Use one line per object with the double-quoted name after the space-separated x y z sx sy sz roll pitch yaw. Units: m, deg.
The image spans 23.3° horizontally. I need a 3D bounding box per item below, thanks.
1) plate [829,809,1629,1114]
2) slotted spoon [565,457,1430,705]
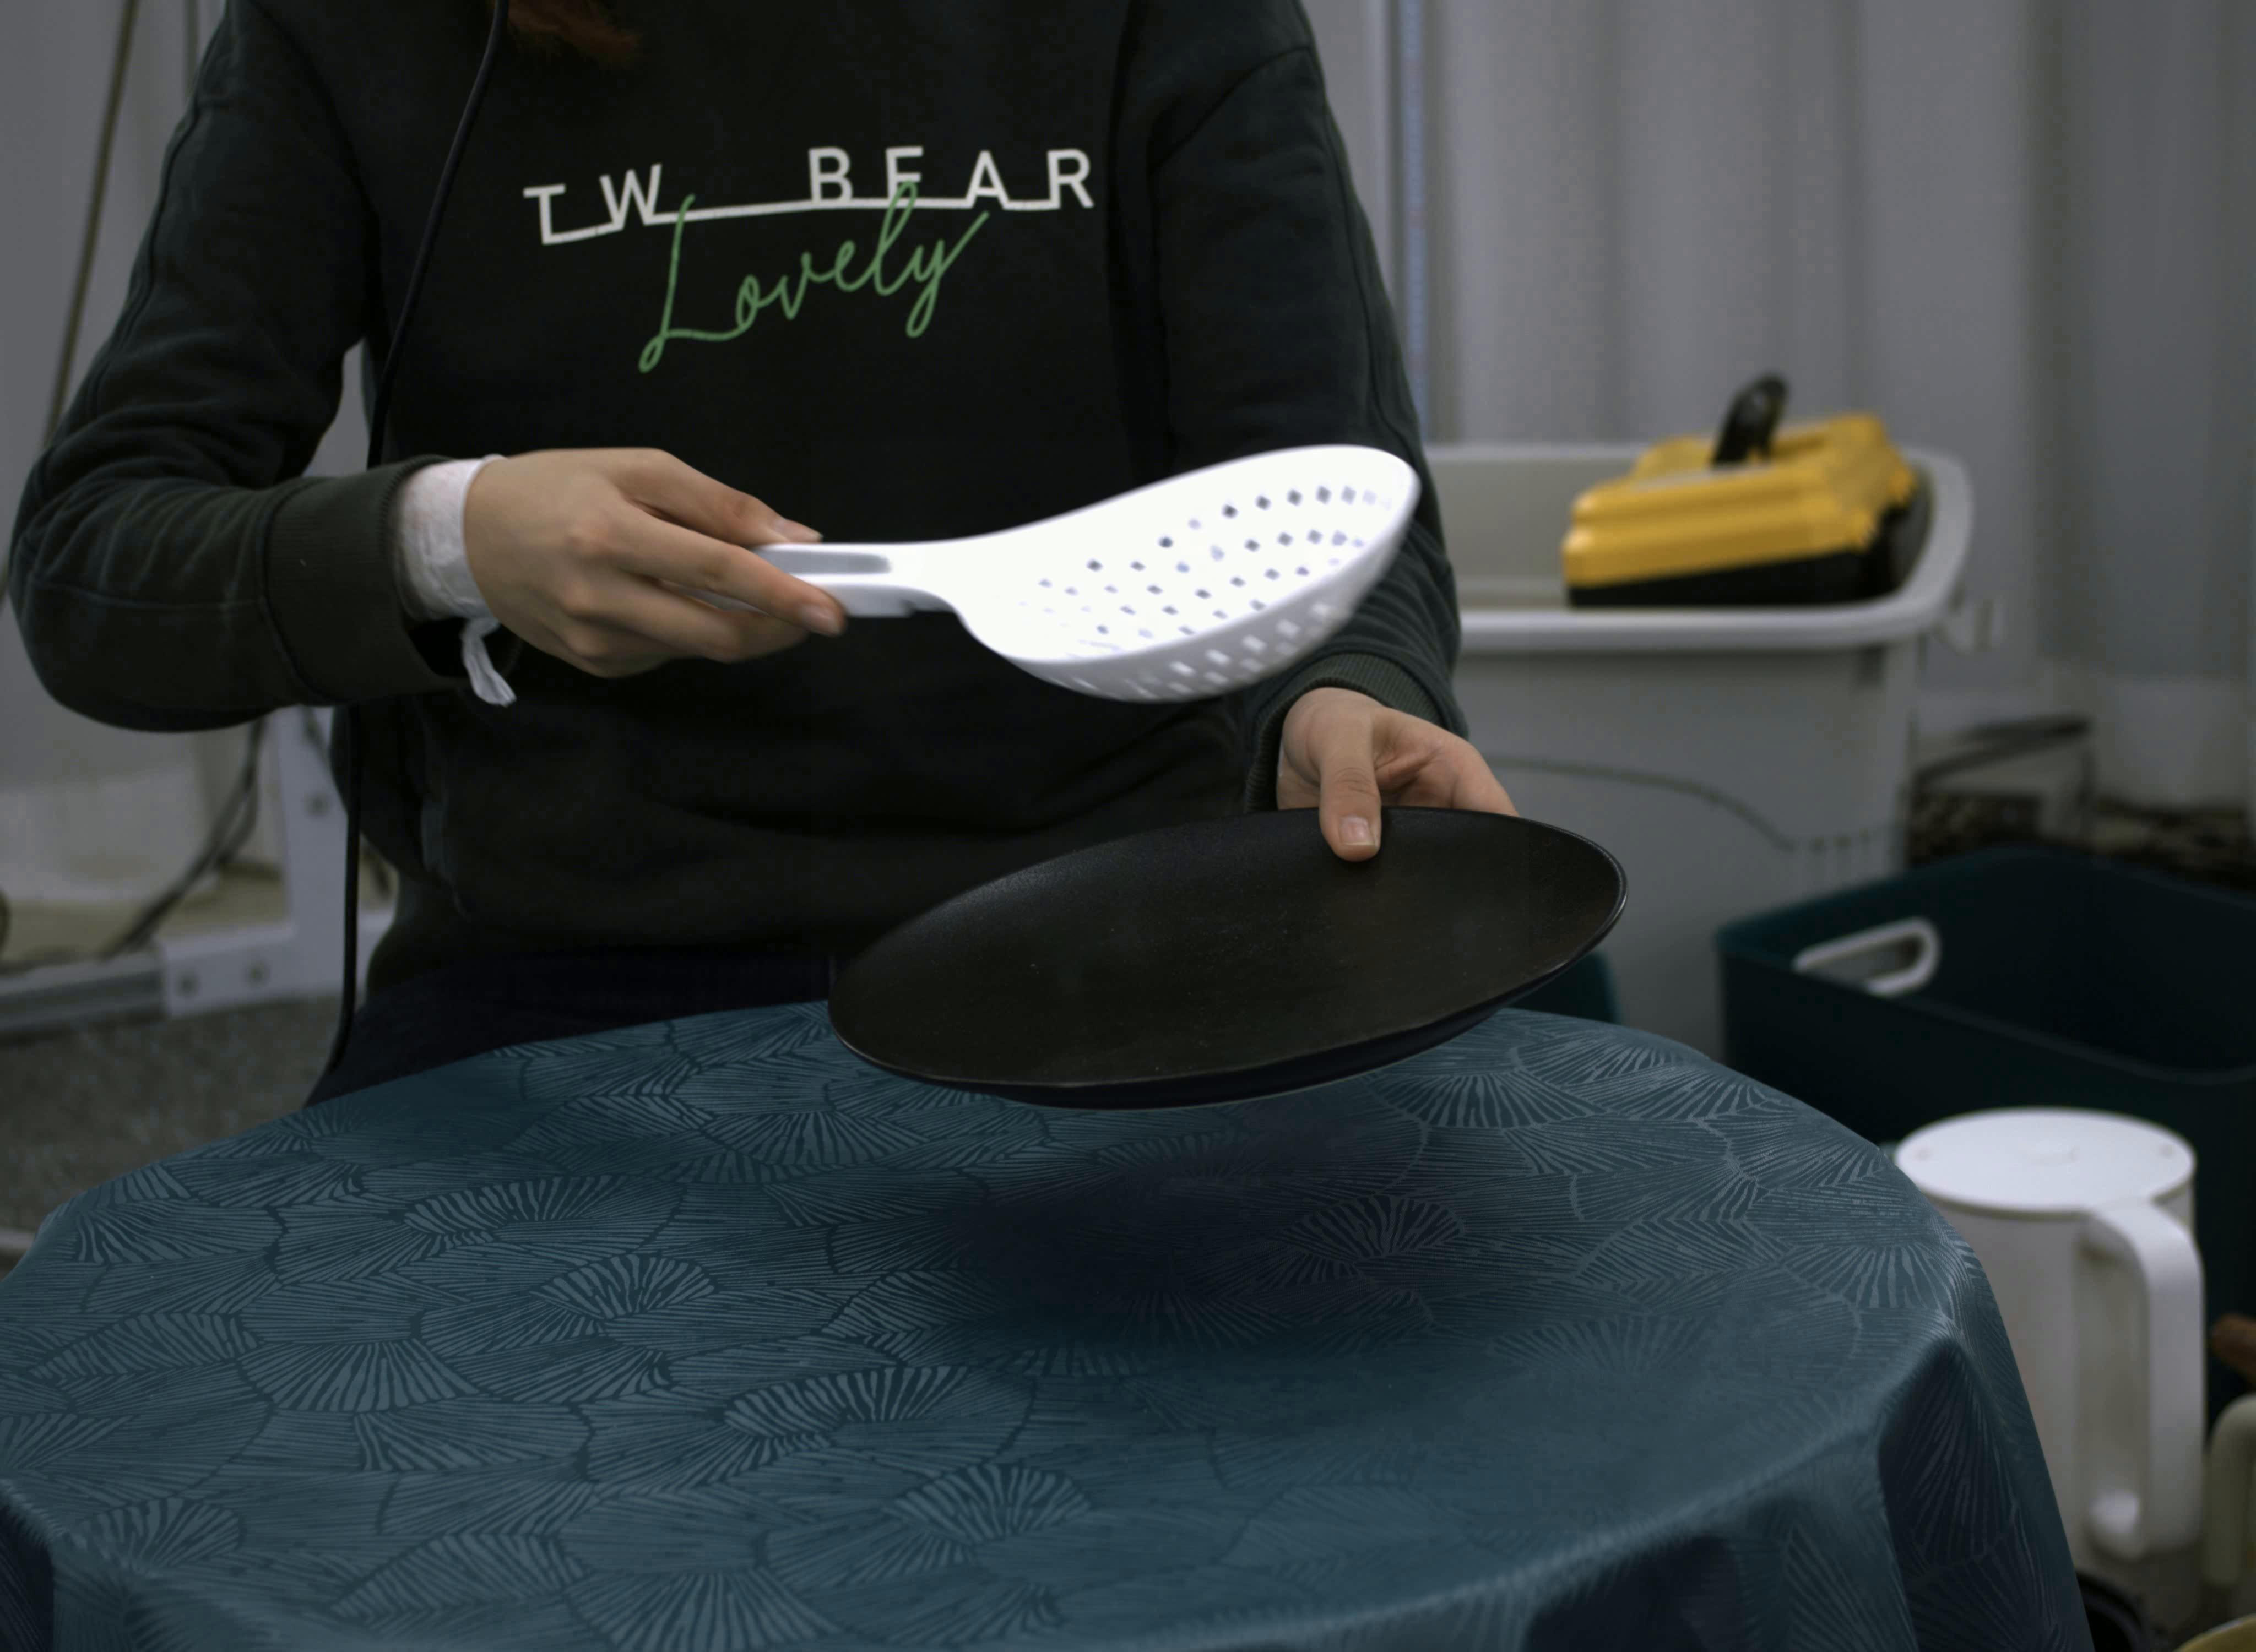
0.031 0.043 1.644 0.243 0.023 0.246 -9 16 2 "plate"
-0.052 -0.076 1.699 0.351 0.045 0.136 7 33 41 "slotted spoon"
